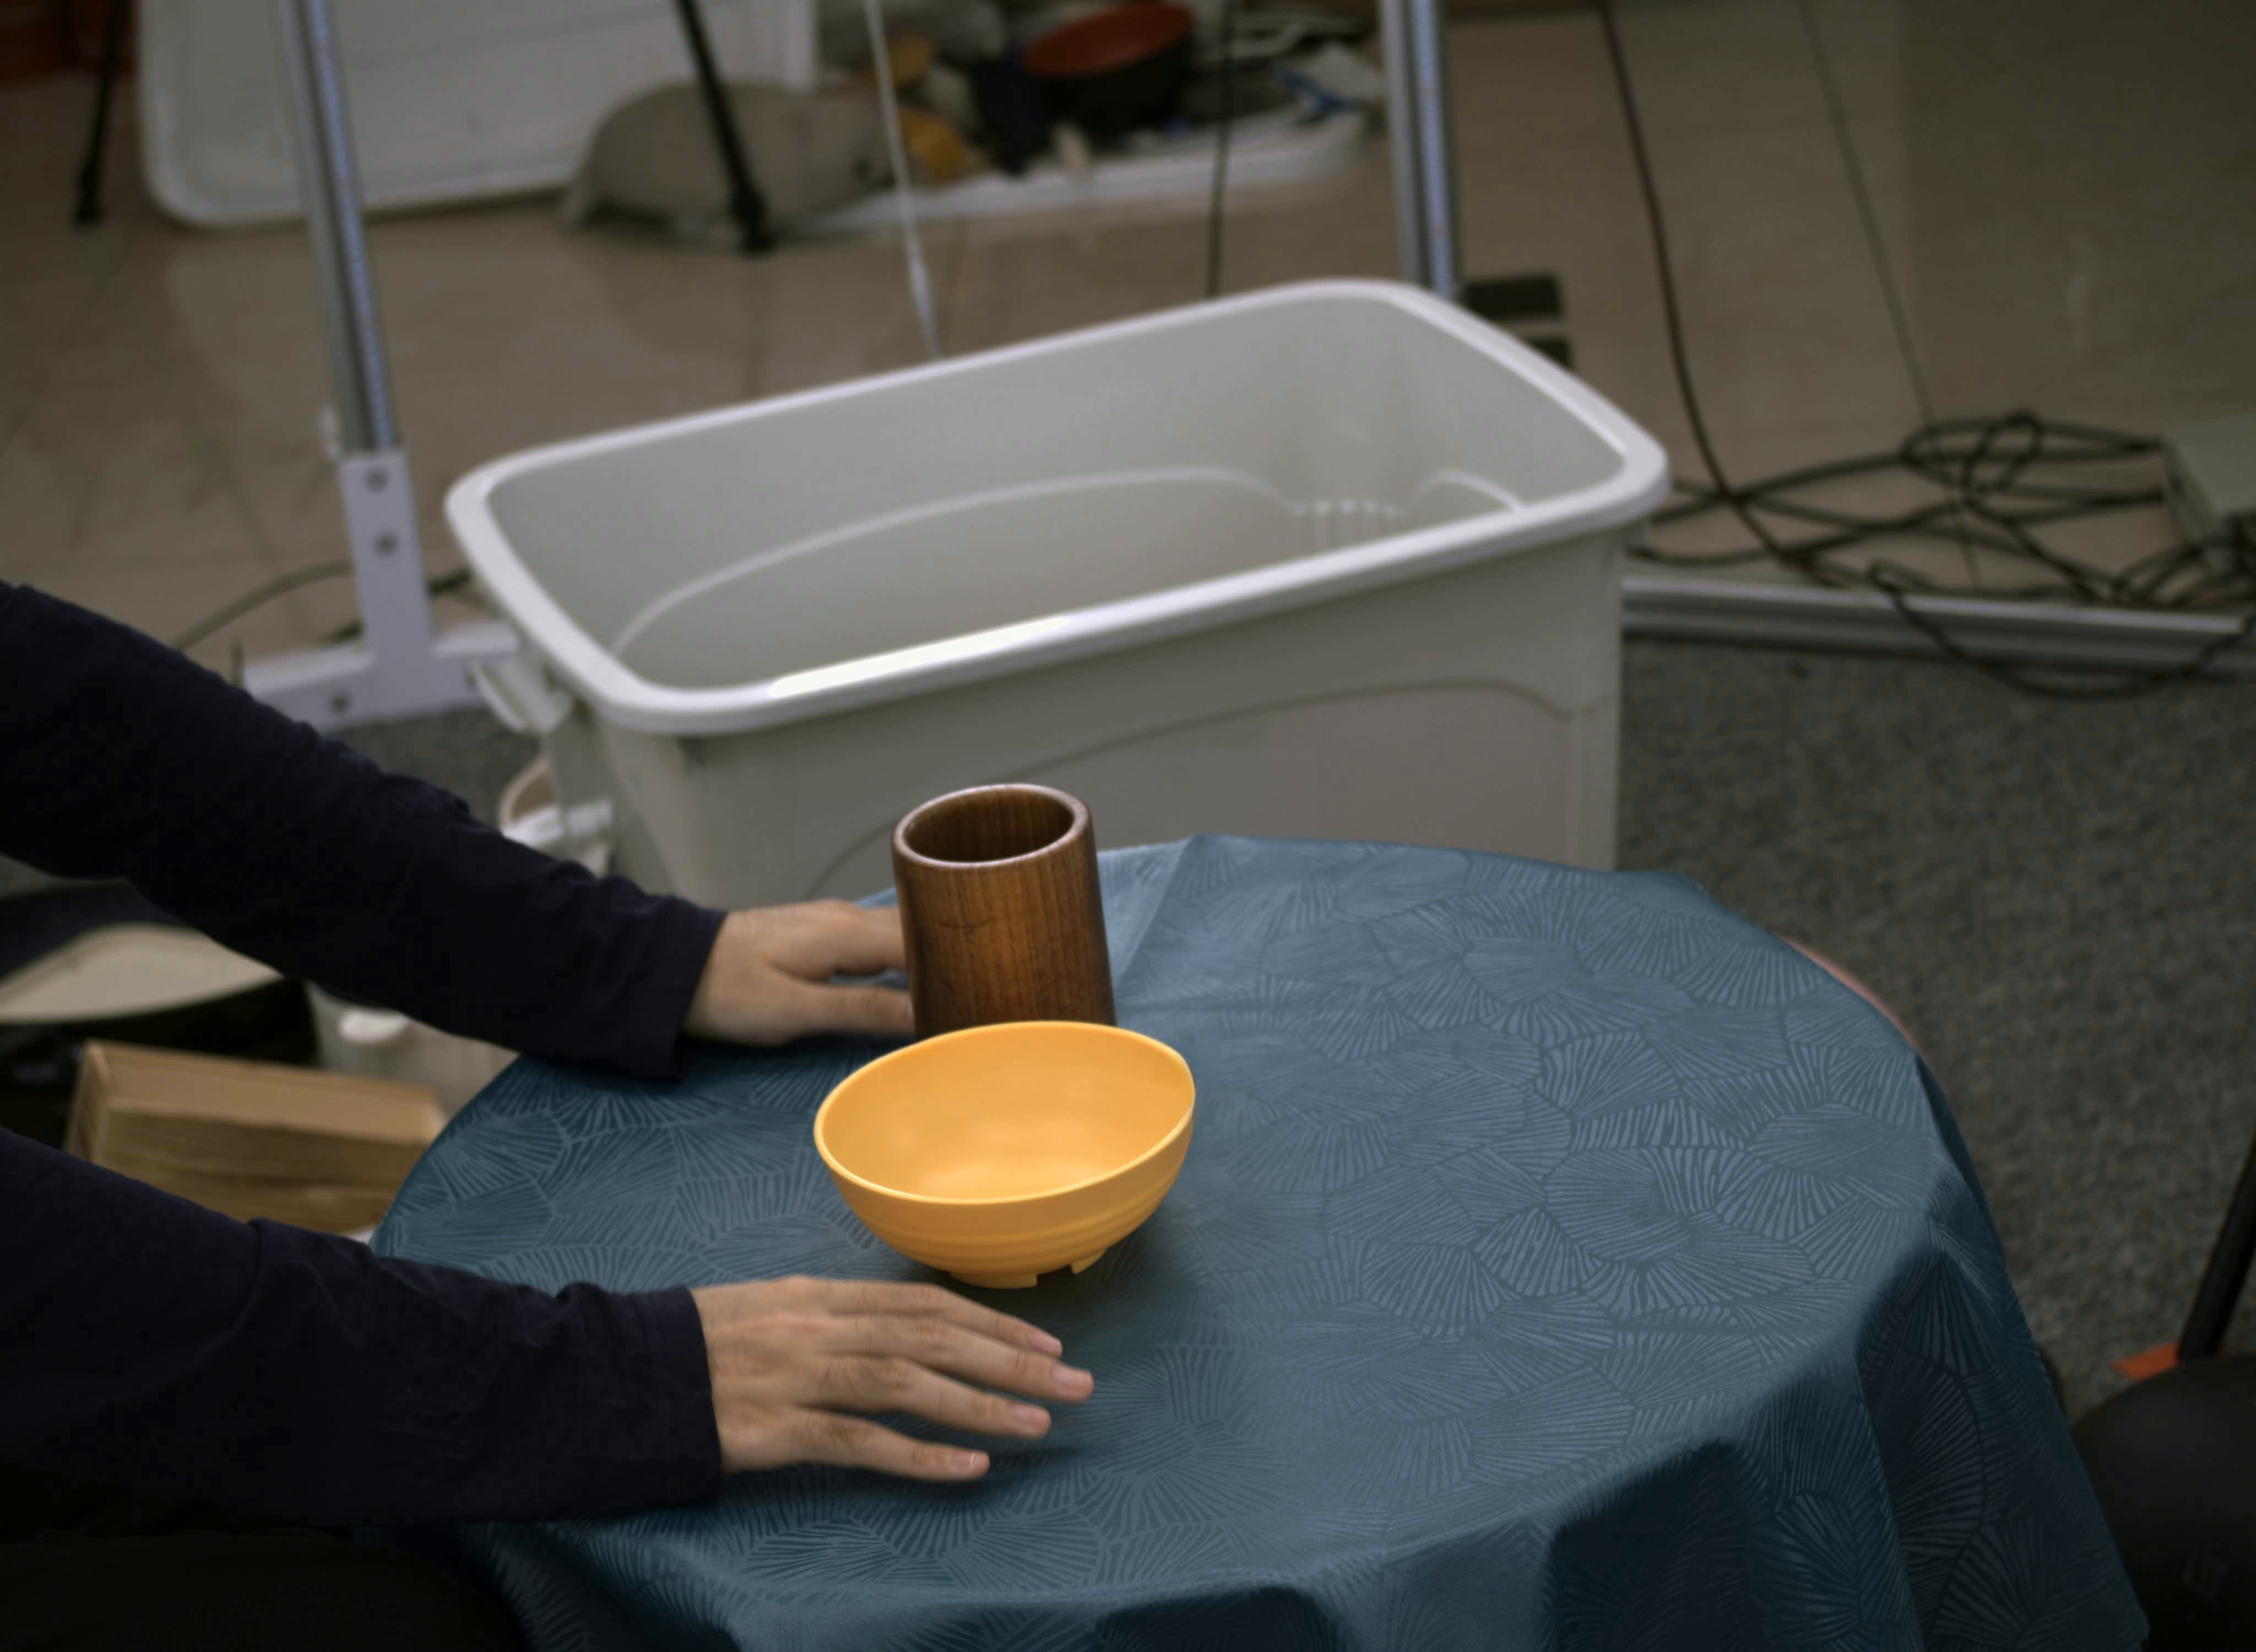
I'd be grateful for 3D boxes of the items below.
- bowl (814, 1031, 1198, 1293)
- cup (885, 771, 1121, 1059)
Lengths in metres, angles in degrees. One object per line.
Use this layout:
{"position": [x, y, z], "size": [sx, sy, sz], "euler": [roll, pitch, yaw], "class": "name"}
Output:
{"position": [-0.041, 0.132, 2.105], "size": [0.145, 0.061, 0.143], "euler": [-7, 23, 3], "class": "bowl"}
{"position": [-0.048, 0.048, 2.214], "size": [0.087, 0.120, 0.086], "euler": [-6, 24, 3], "class": "cup"}
